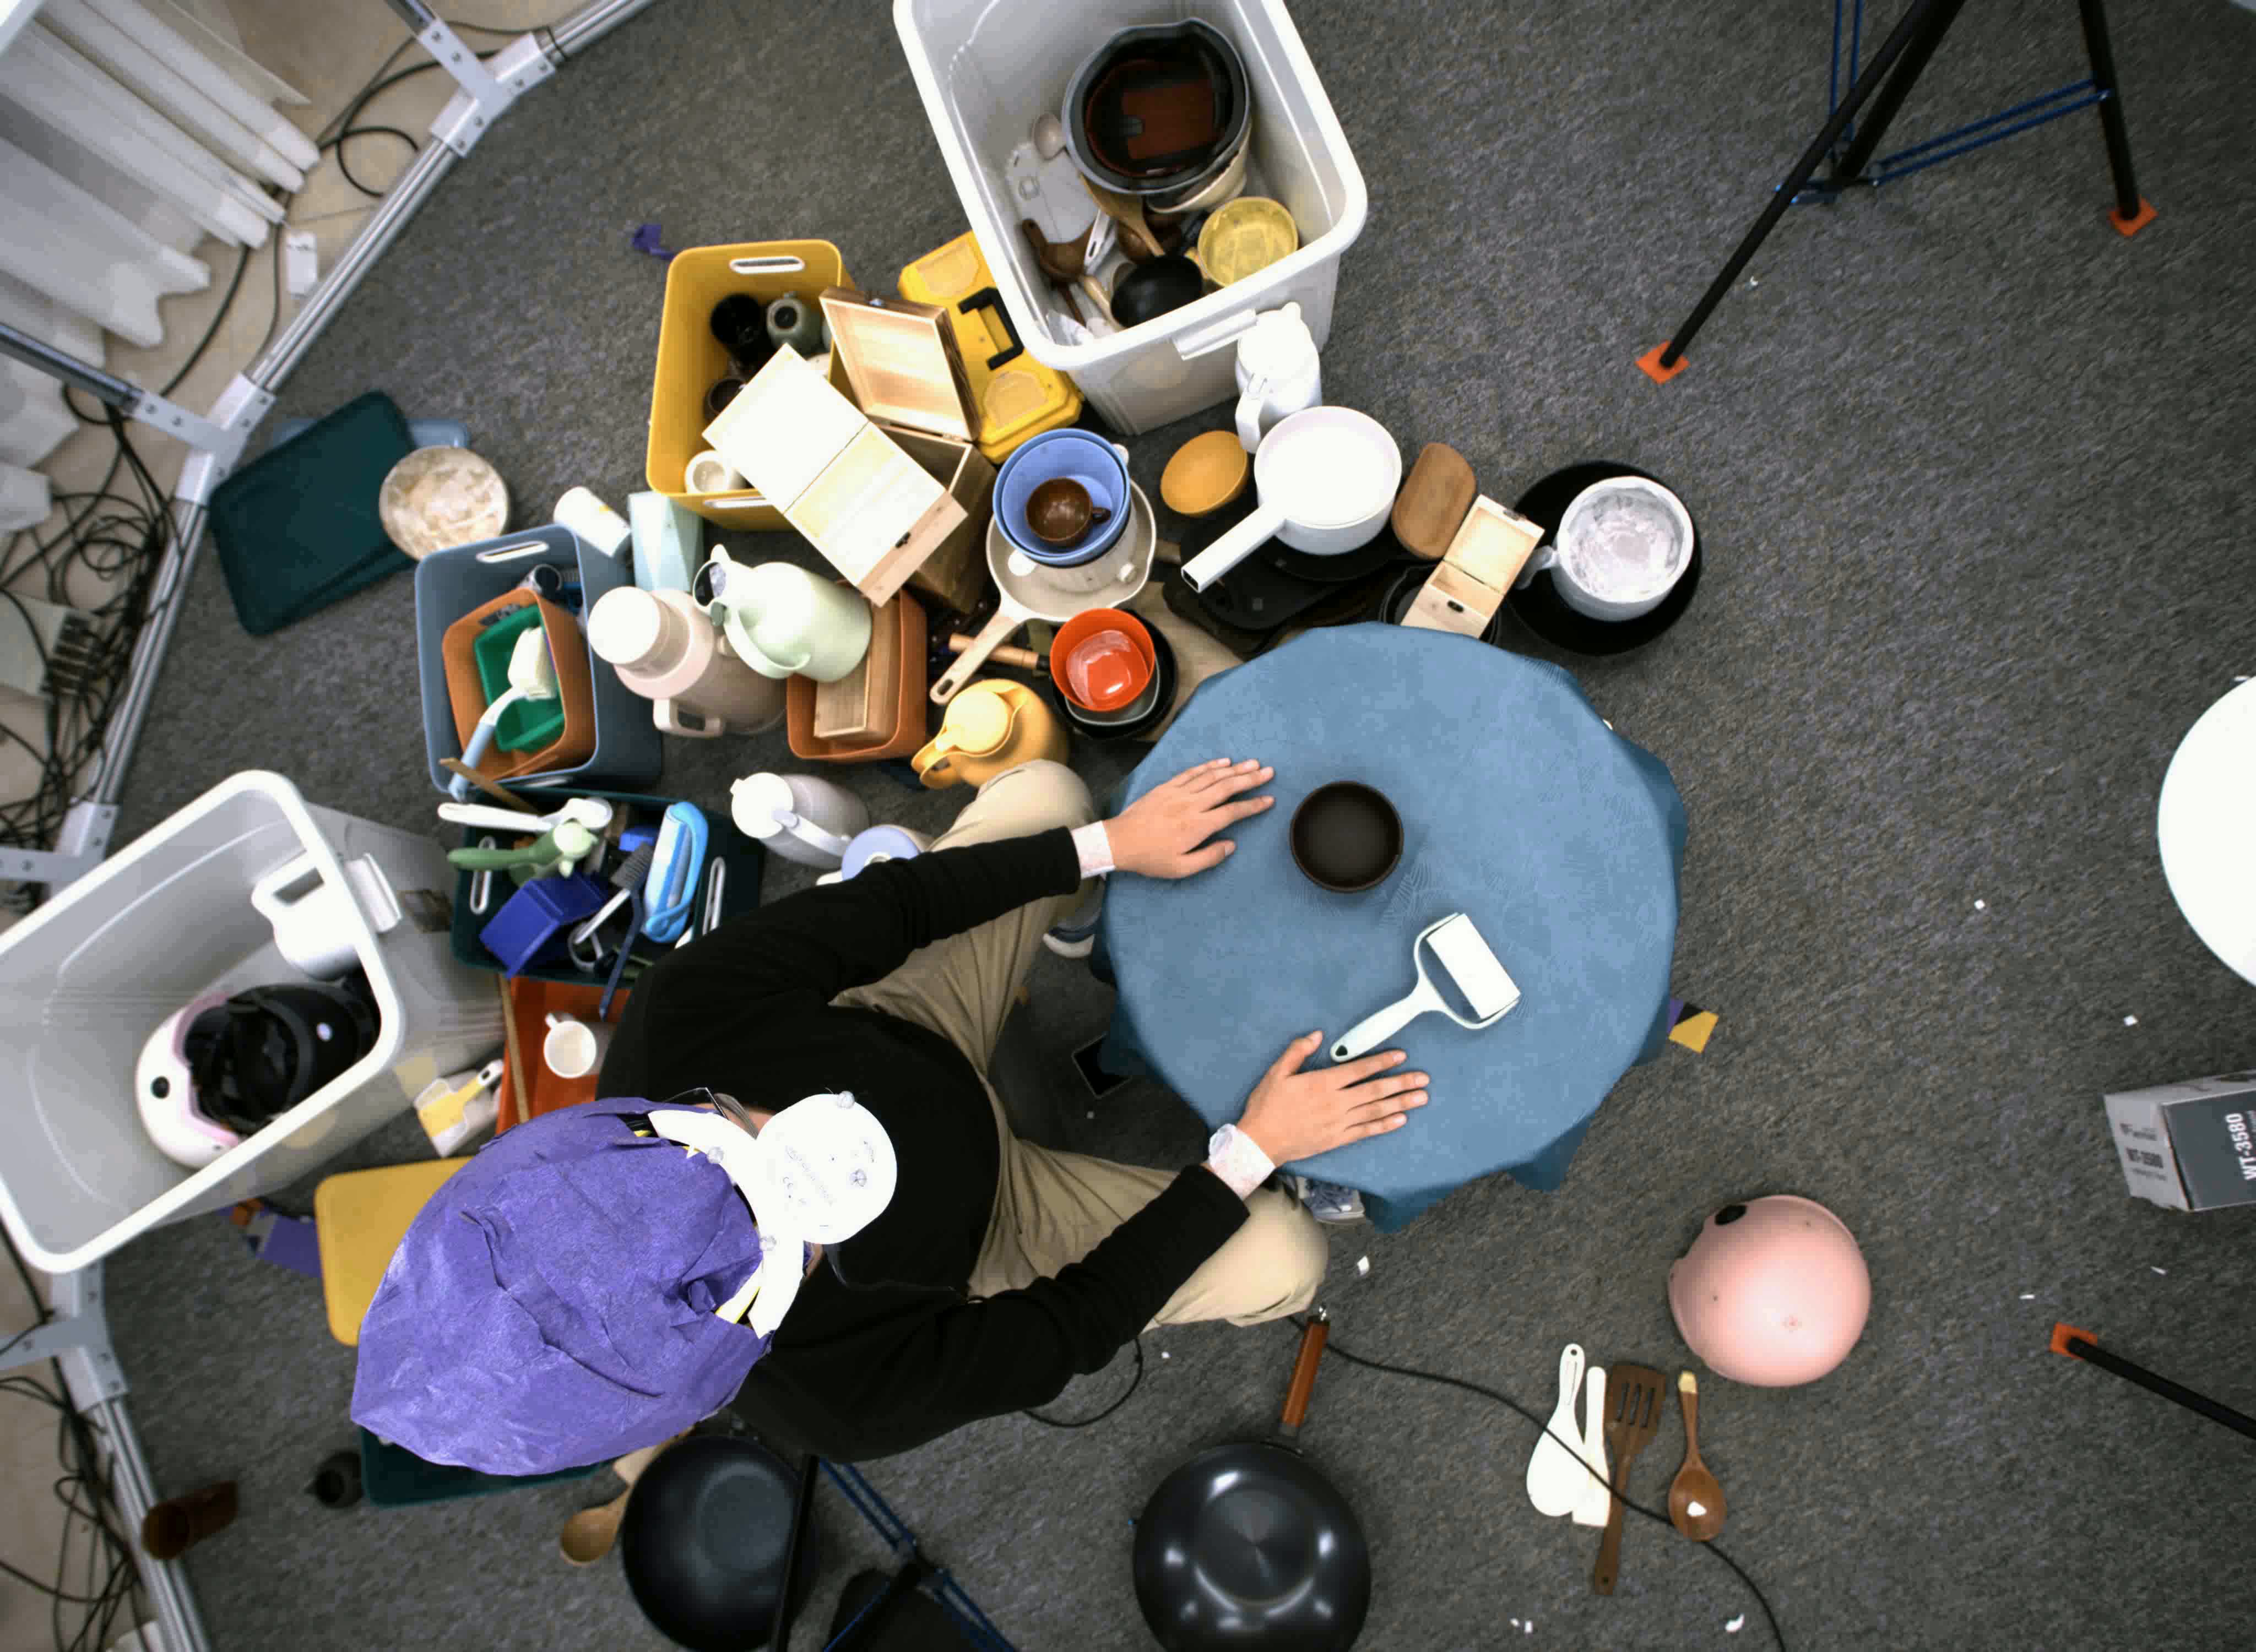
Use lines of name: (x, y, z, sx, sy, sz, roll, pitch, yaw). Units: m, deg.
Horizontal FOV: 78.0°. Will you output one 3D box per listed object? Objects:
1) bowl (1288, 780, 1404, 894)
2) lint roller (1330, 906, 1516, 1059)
bowl: (0.227, 0.012, 1.435, 0.118, 0.070, 0.117, -1, 88, 10)
lint roller: (0.290, 0.177, 1.428, 0.199, 0.048, 0.116, -35, 82, 9)
